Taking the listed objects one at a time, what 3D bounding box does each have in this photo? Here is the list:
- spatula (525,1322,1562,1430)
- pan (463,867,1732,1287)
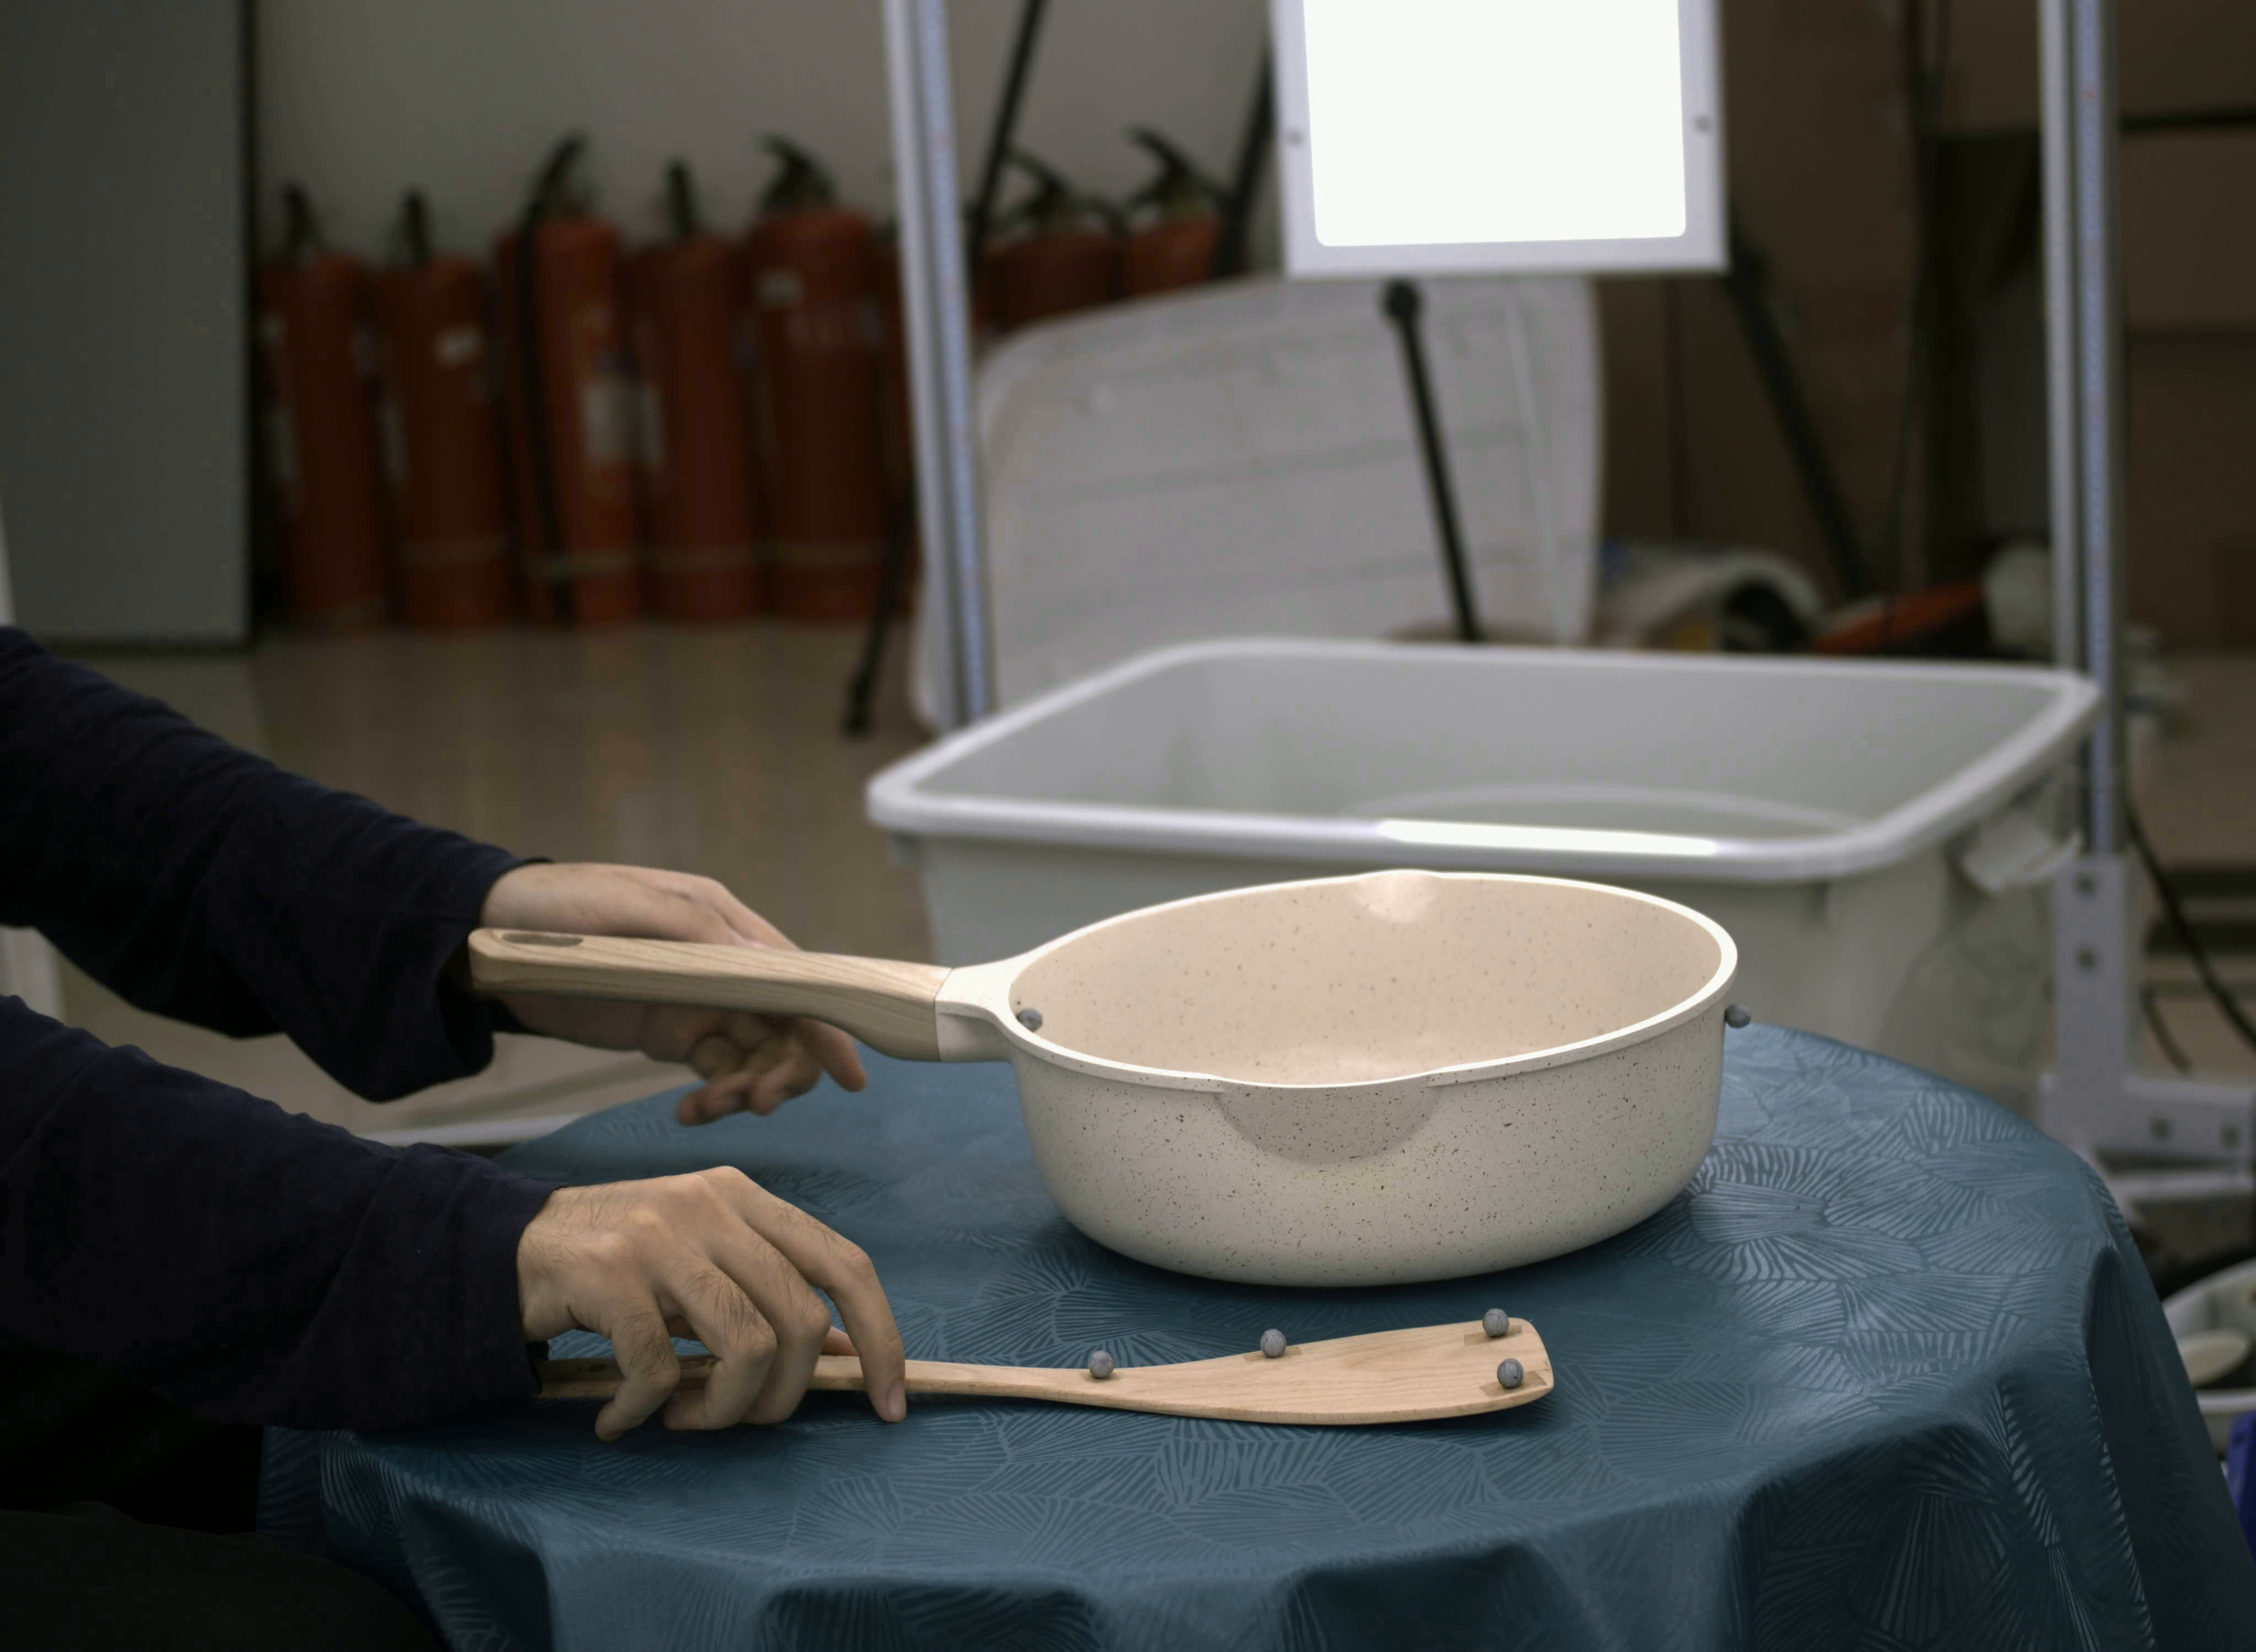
[{"bbox_3d":[-0.027,0.169,1.704,0.329,0.016,0.079,0,14,11],"label":"spatula"},{"bbox_3d":[-0.010,0.084,1.877,0.437,0.102,0.261,-3,15,10],"label":"pan"}]
